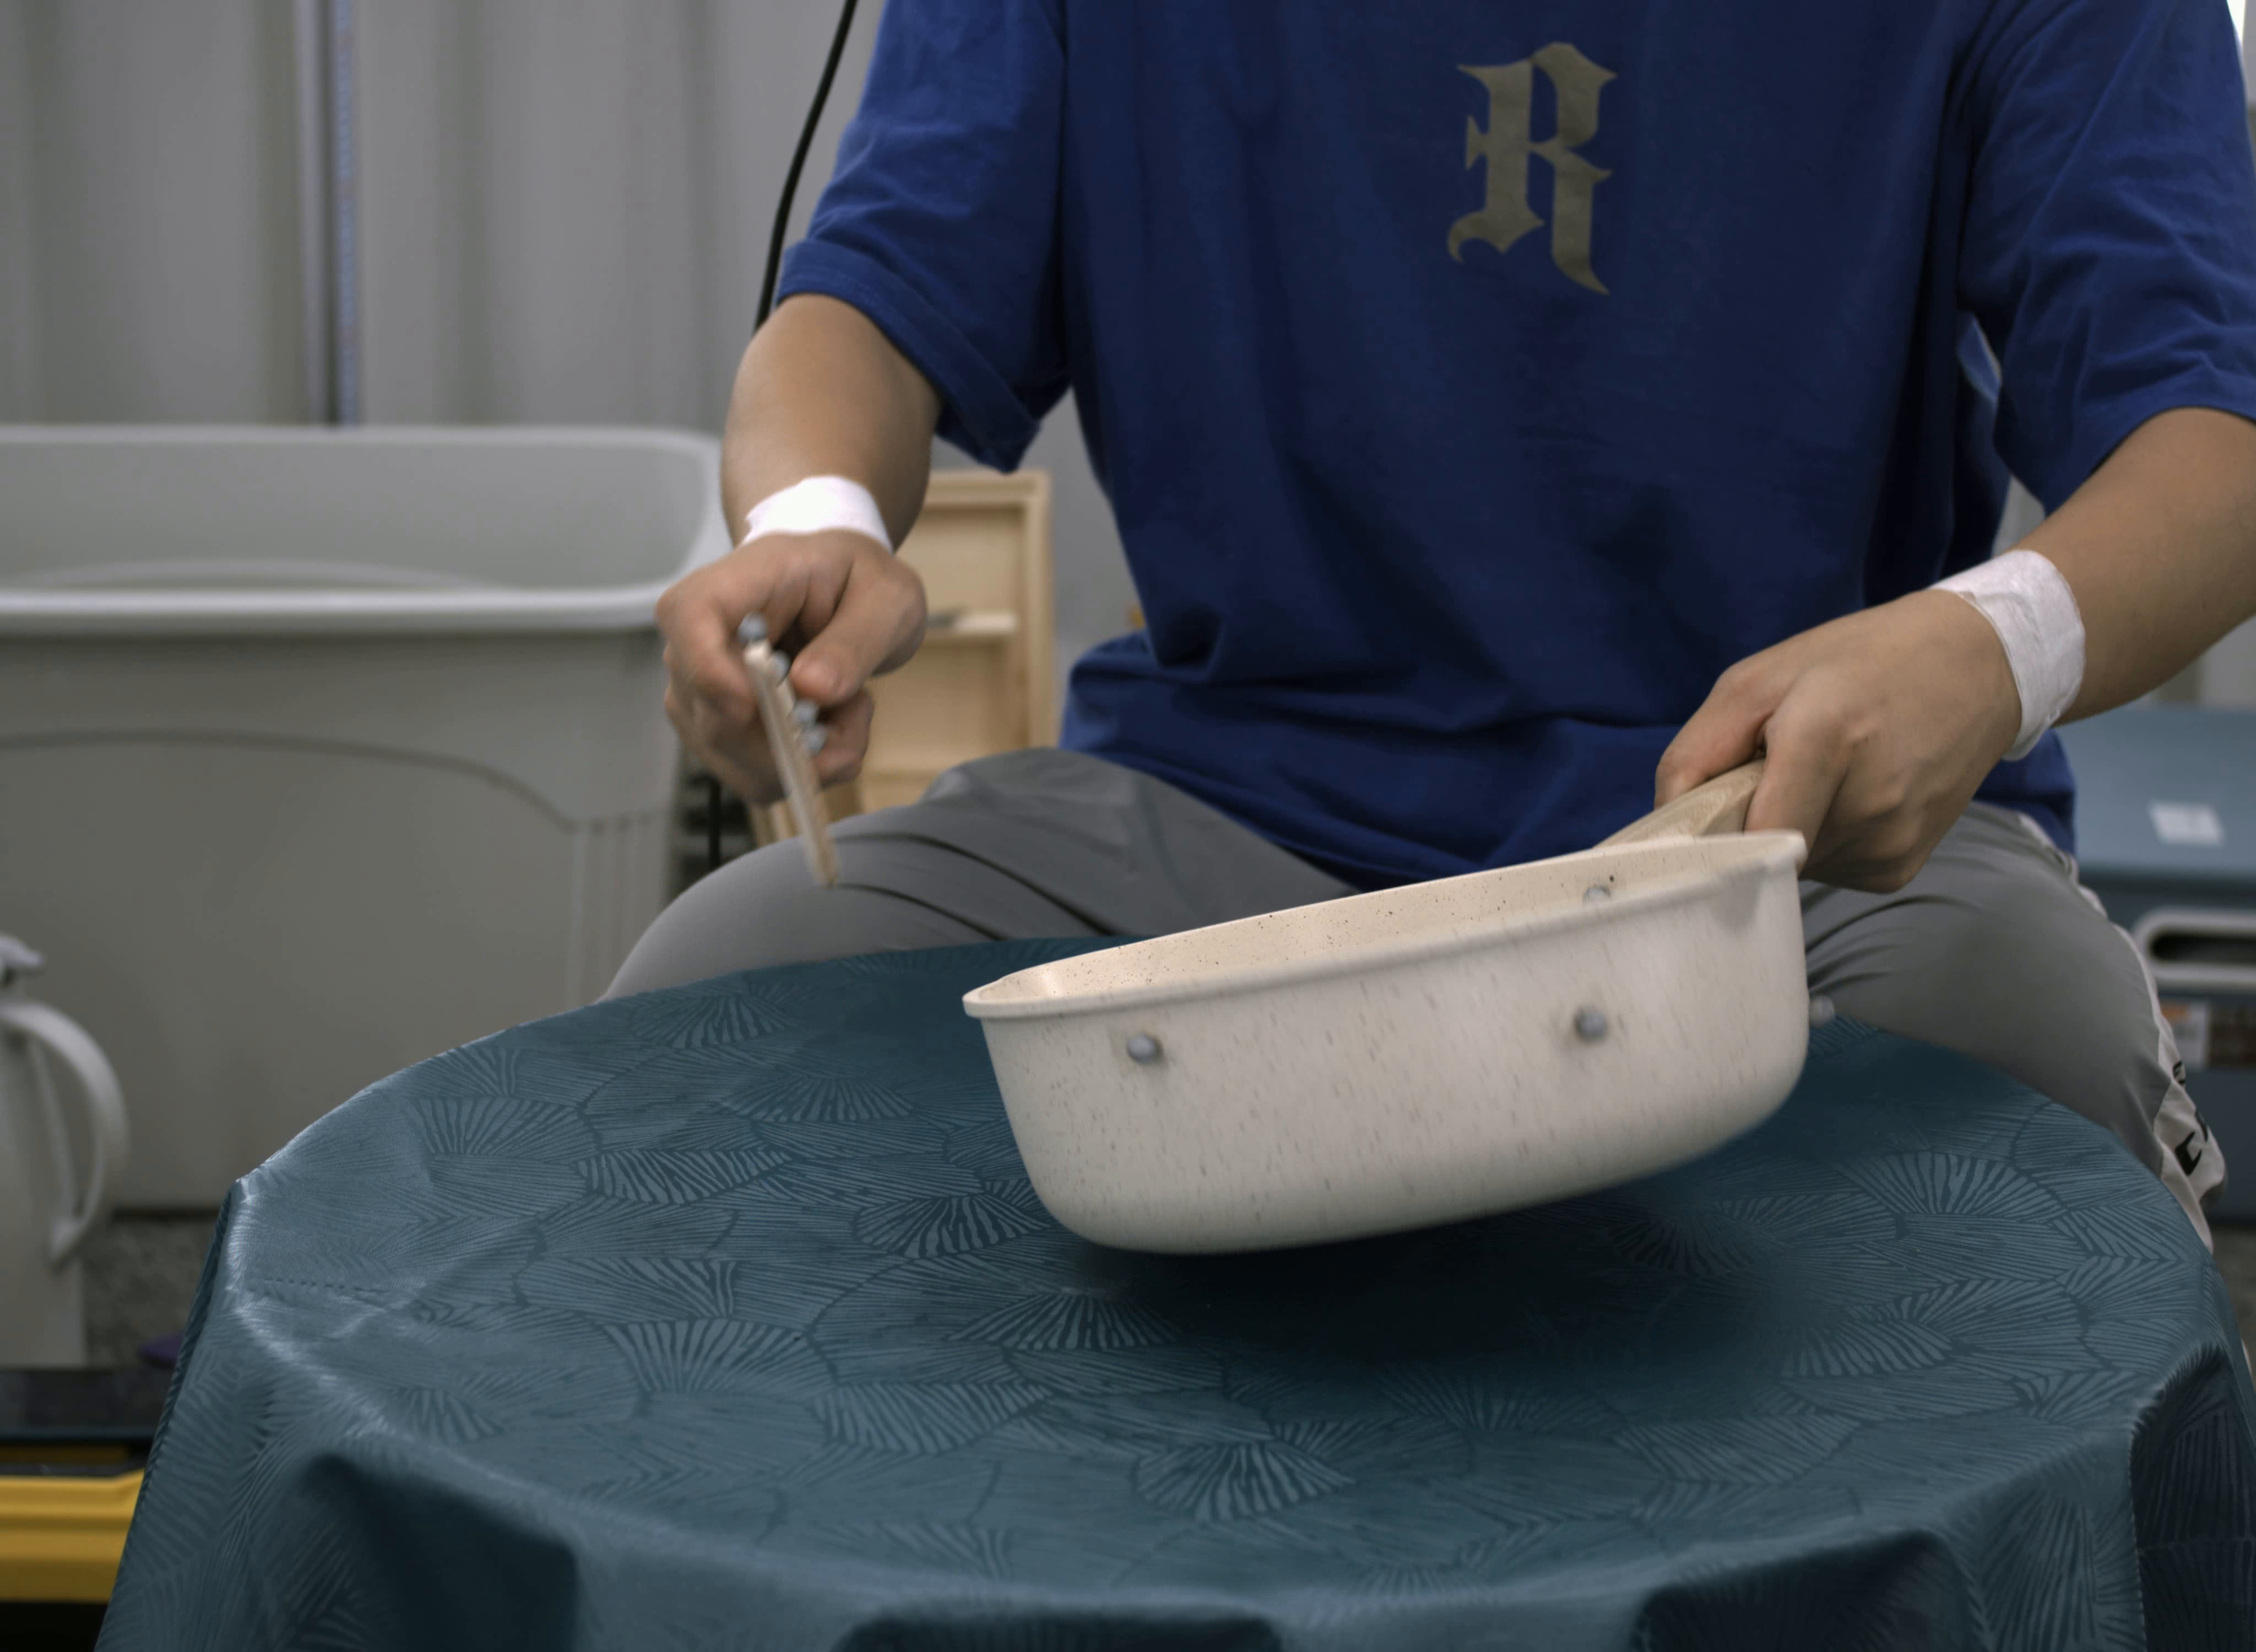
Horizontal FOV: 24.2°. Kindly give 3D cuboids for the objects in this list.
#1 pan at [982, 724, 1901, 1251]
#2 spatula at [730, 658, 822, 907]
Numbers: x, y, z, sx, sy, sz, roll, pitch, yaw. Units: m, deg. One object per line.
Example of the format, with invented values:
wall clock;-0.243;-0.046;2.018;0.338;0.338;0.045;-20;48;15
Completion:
pan;0.139;0.045;1.613;0.261;0.102;0.437;-10;2;36
spatula;-0.108;-0.027;1.650;0.010;0.073;0.292;-17;7;0
